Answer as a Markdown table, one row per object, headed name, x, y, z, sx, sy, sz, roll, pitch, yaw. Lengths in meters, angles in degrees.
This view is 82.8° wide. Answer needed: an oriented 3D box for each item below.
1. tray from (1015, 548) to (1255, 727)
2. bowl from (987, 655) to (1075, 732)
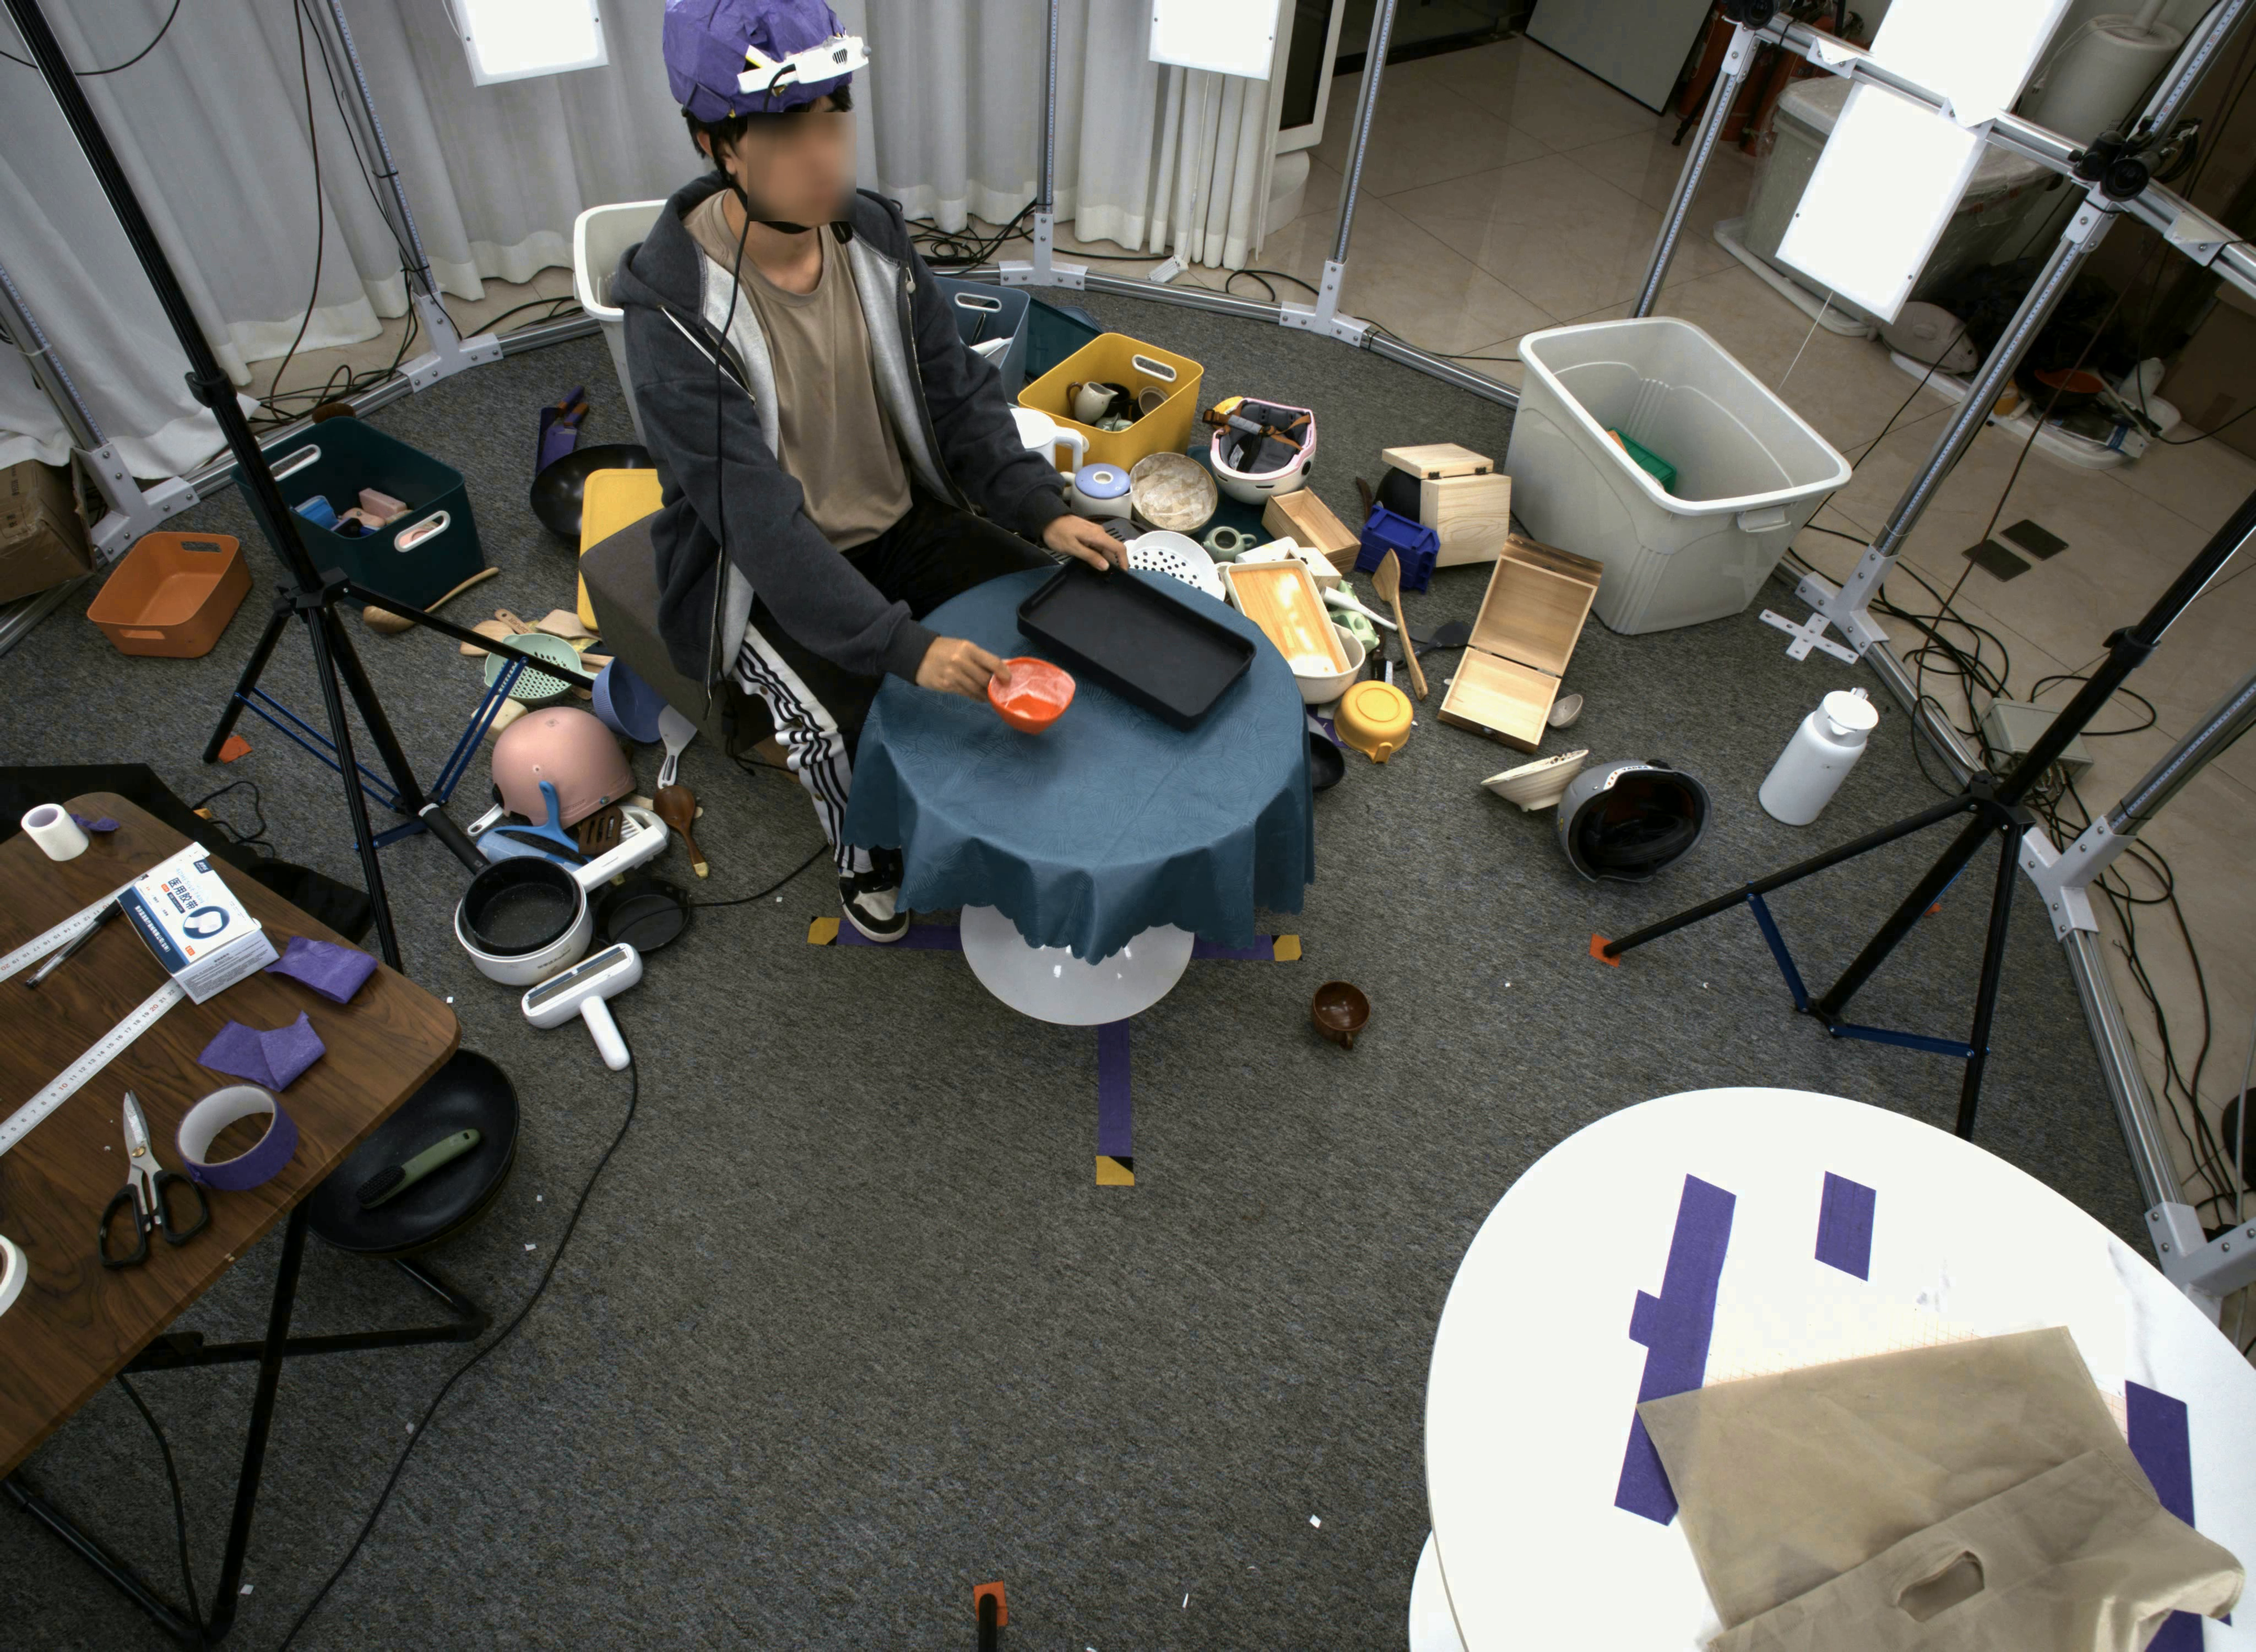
| name | x | y | z | sx | sy | sz | roll | pitch | yaw |
| --- | --- | --- | --- | --- | --- | --- | --- | --- | --- |
| tray | 0.009 | -0.275 | 1.851 | 0.321 | 0.036 | 0.187 | 32 | 54 | 16 |
| bowl | -0.132 | -0.172 | 1.719 | 0.118 | 0.050 | 0.122 | 6 | 49 | -7 |
